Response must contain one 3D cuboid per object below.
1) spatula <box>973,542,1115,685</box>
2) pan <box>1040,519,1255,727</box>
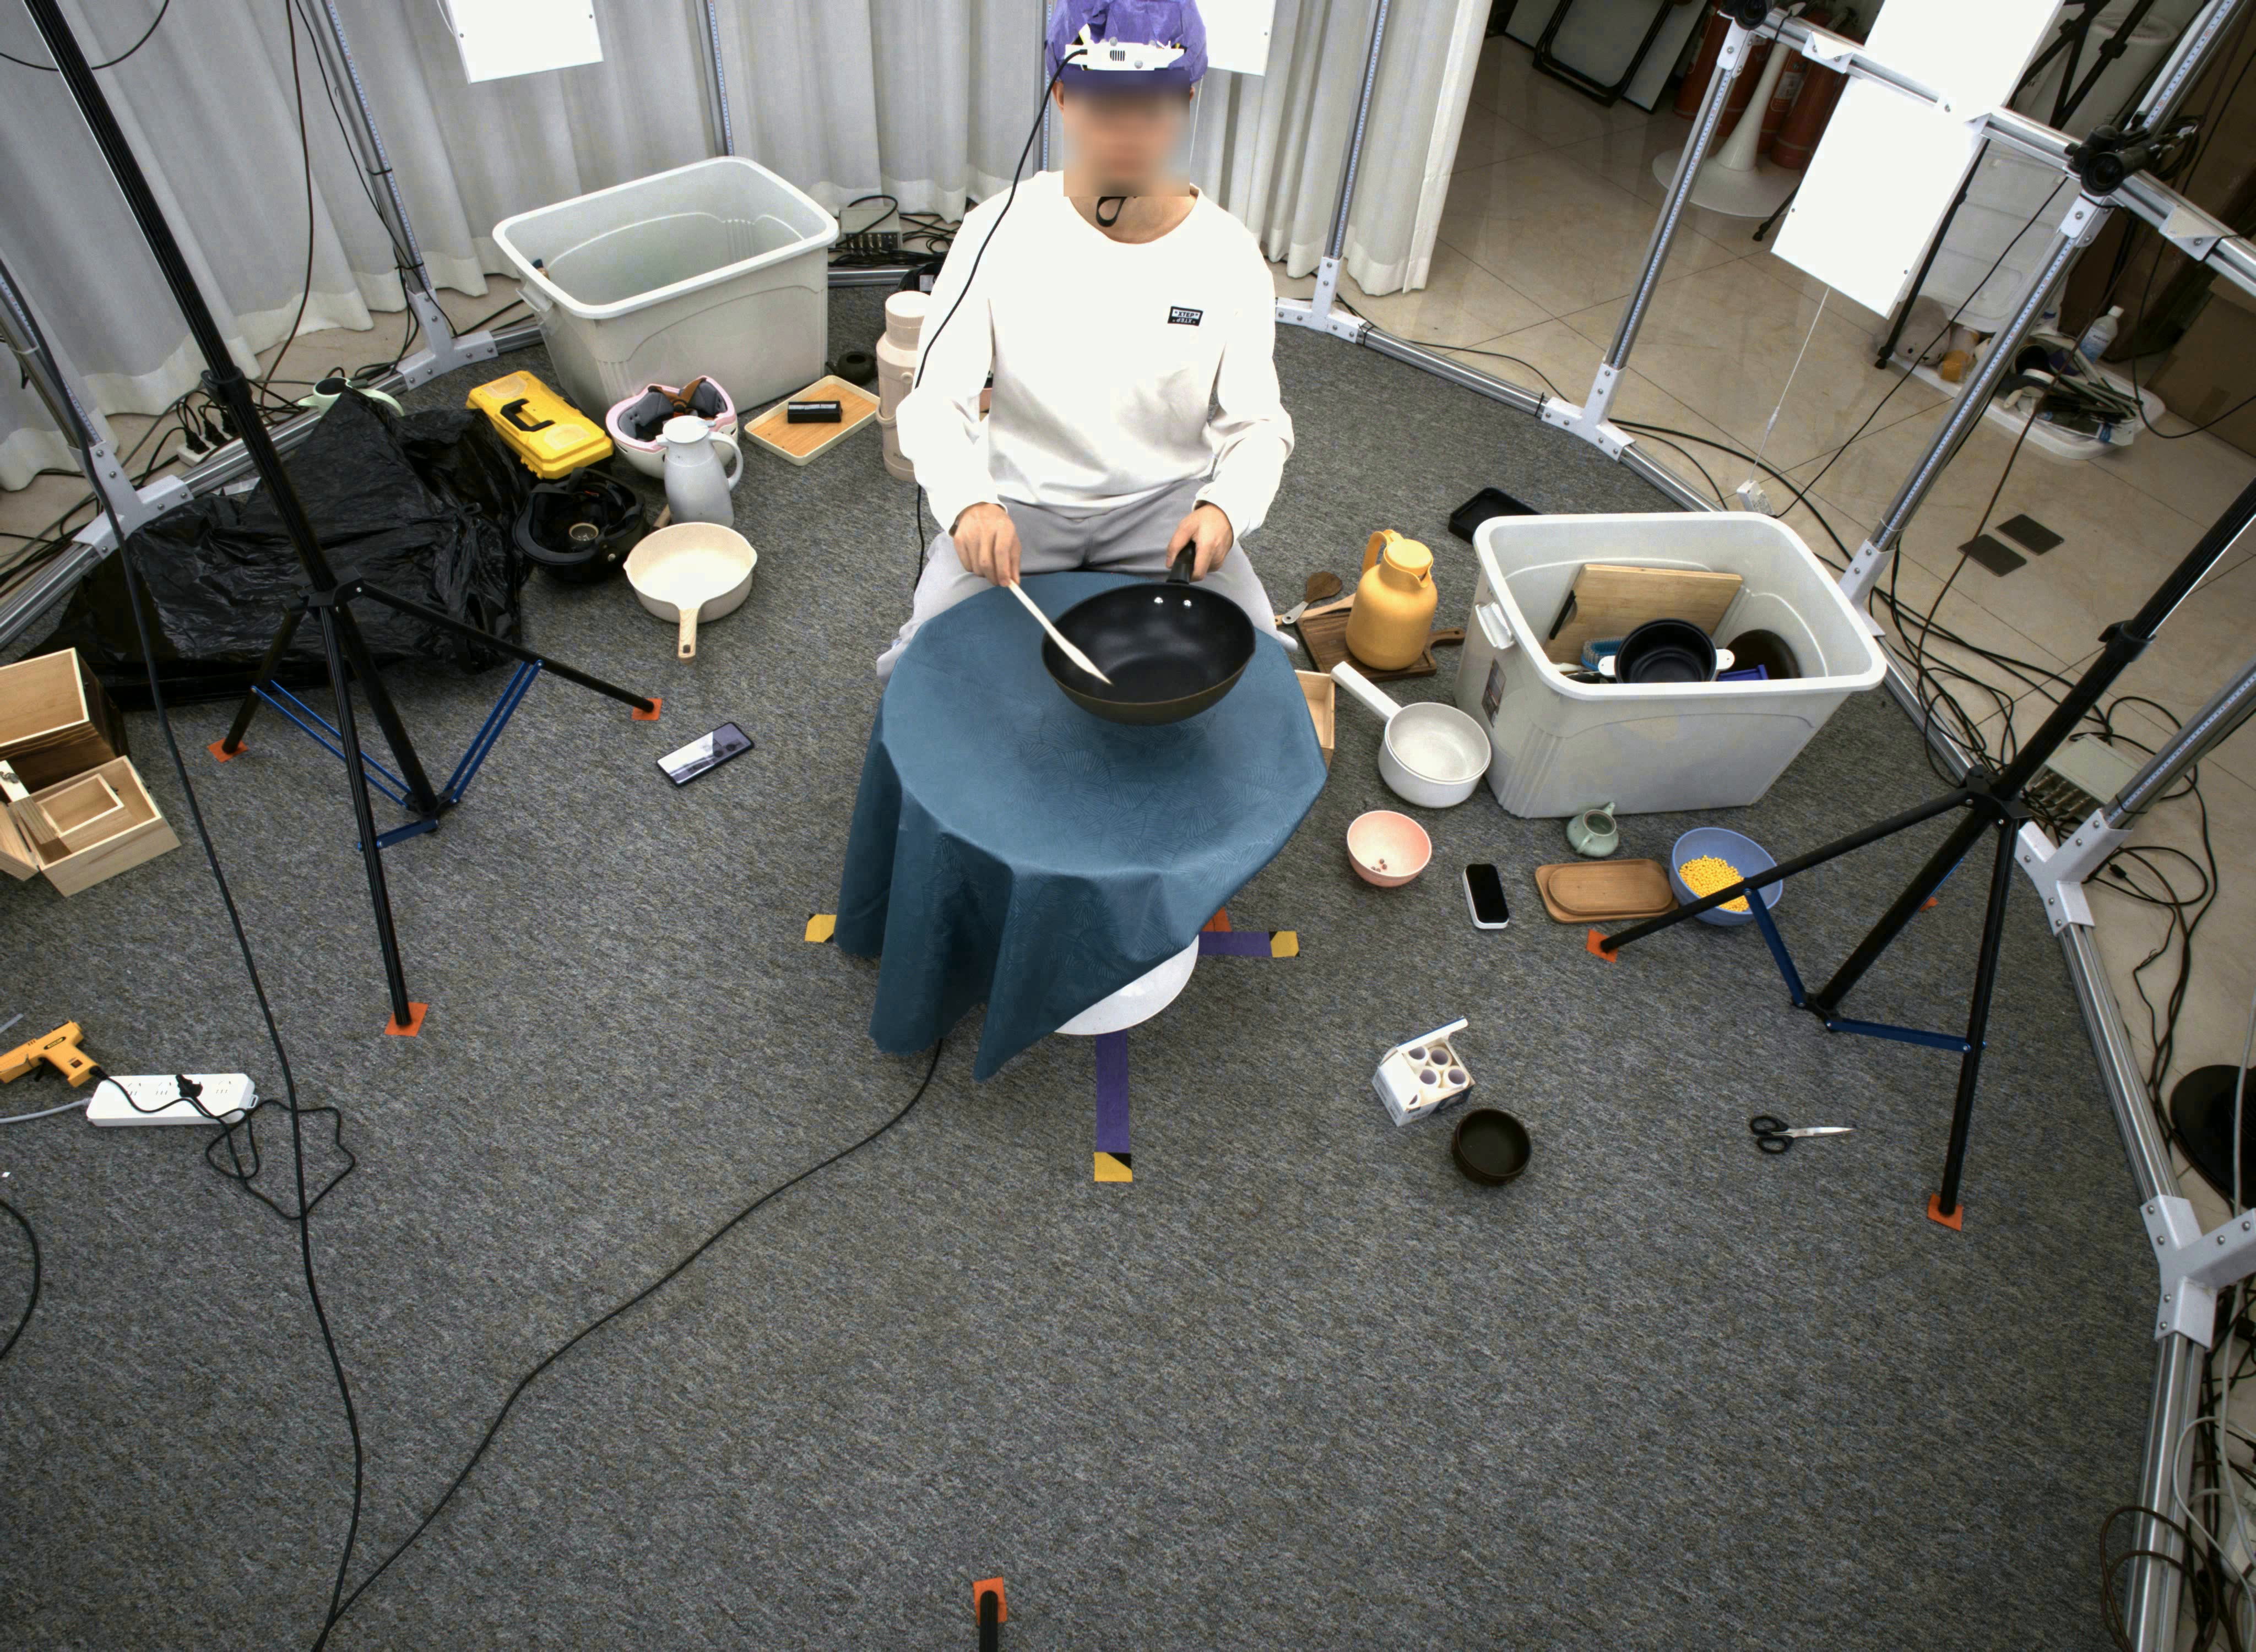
[{"bbox_3d":[-0.119,-0.285,1.697,0.010,0.071,0.298,-47,63,10],"label":"spatula"},{"bbox_3d":[0.053,-0.277,1.774,0.289,0.085,0.473,7,43,15],"label":"pan"}]
